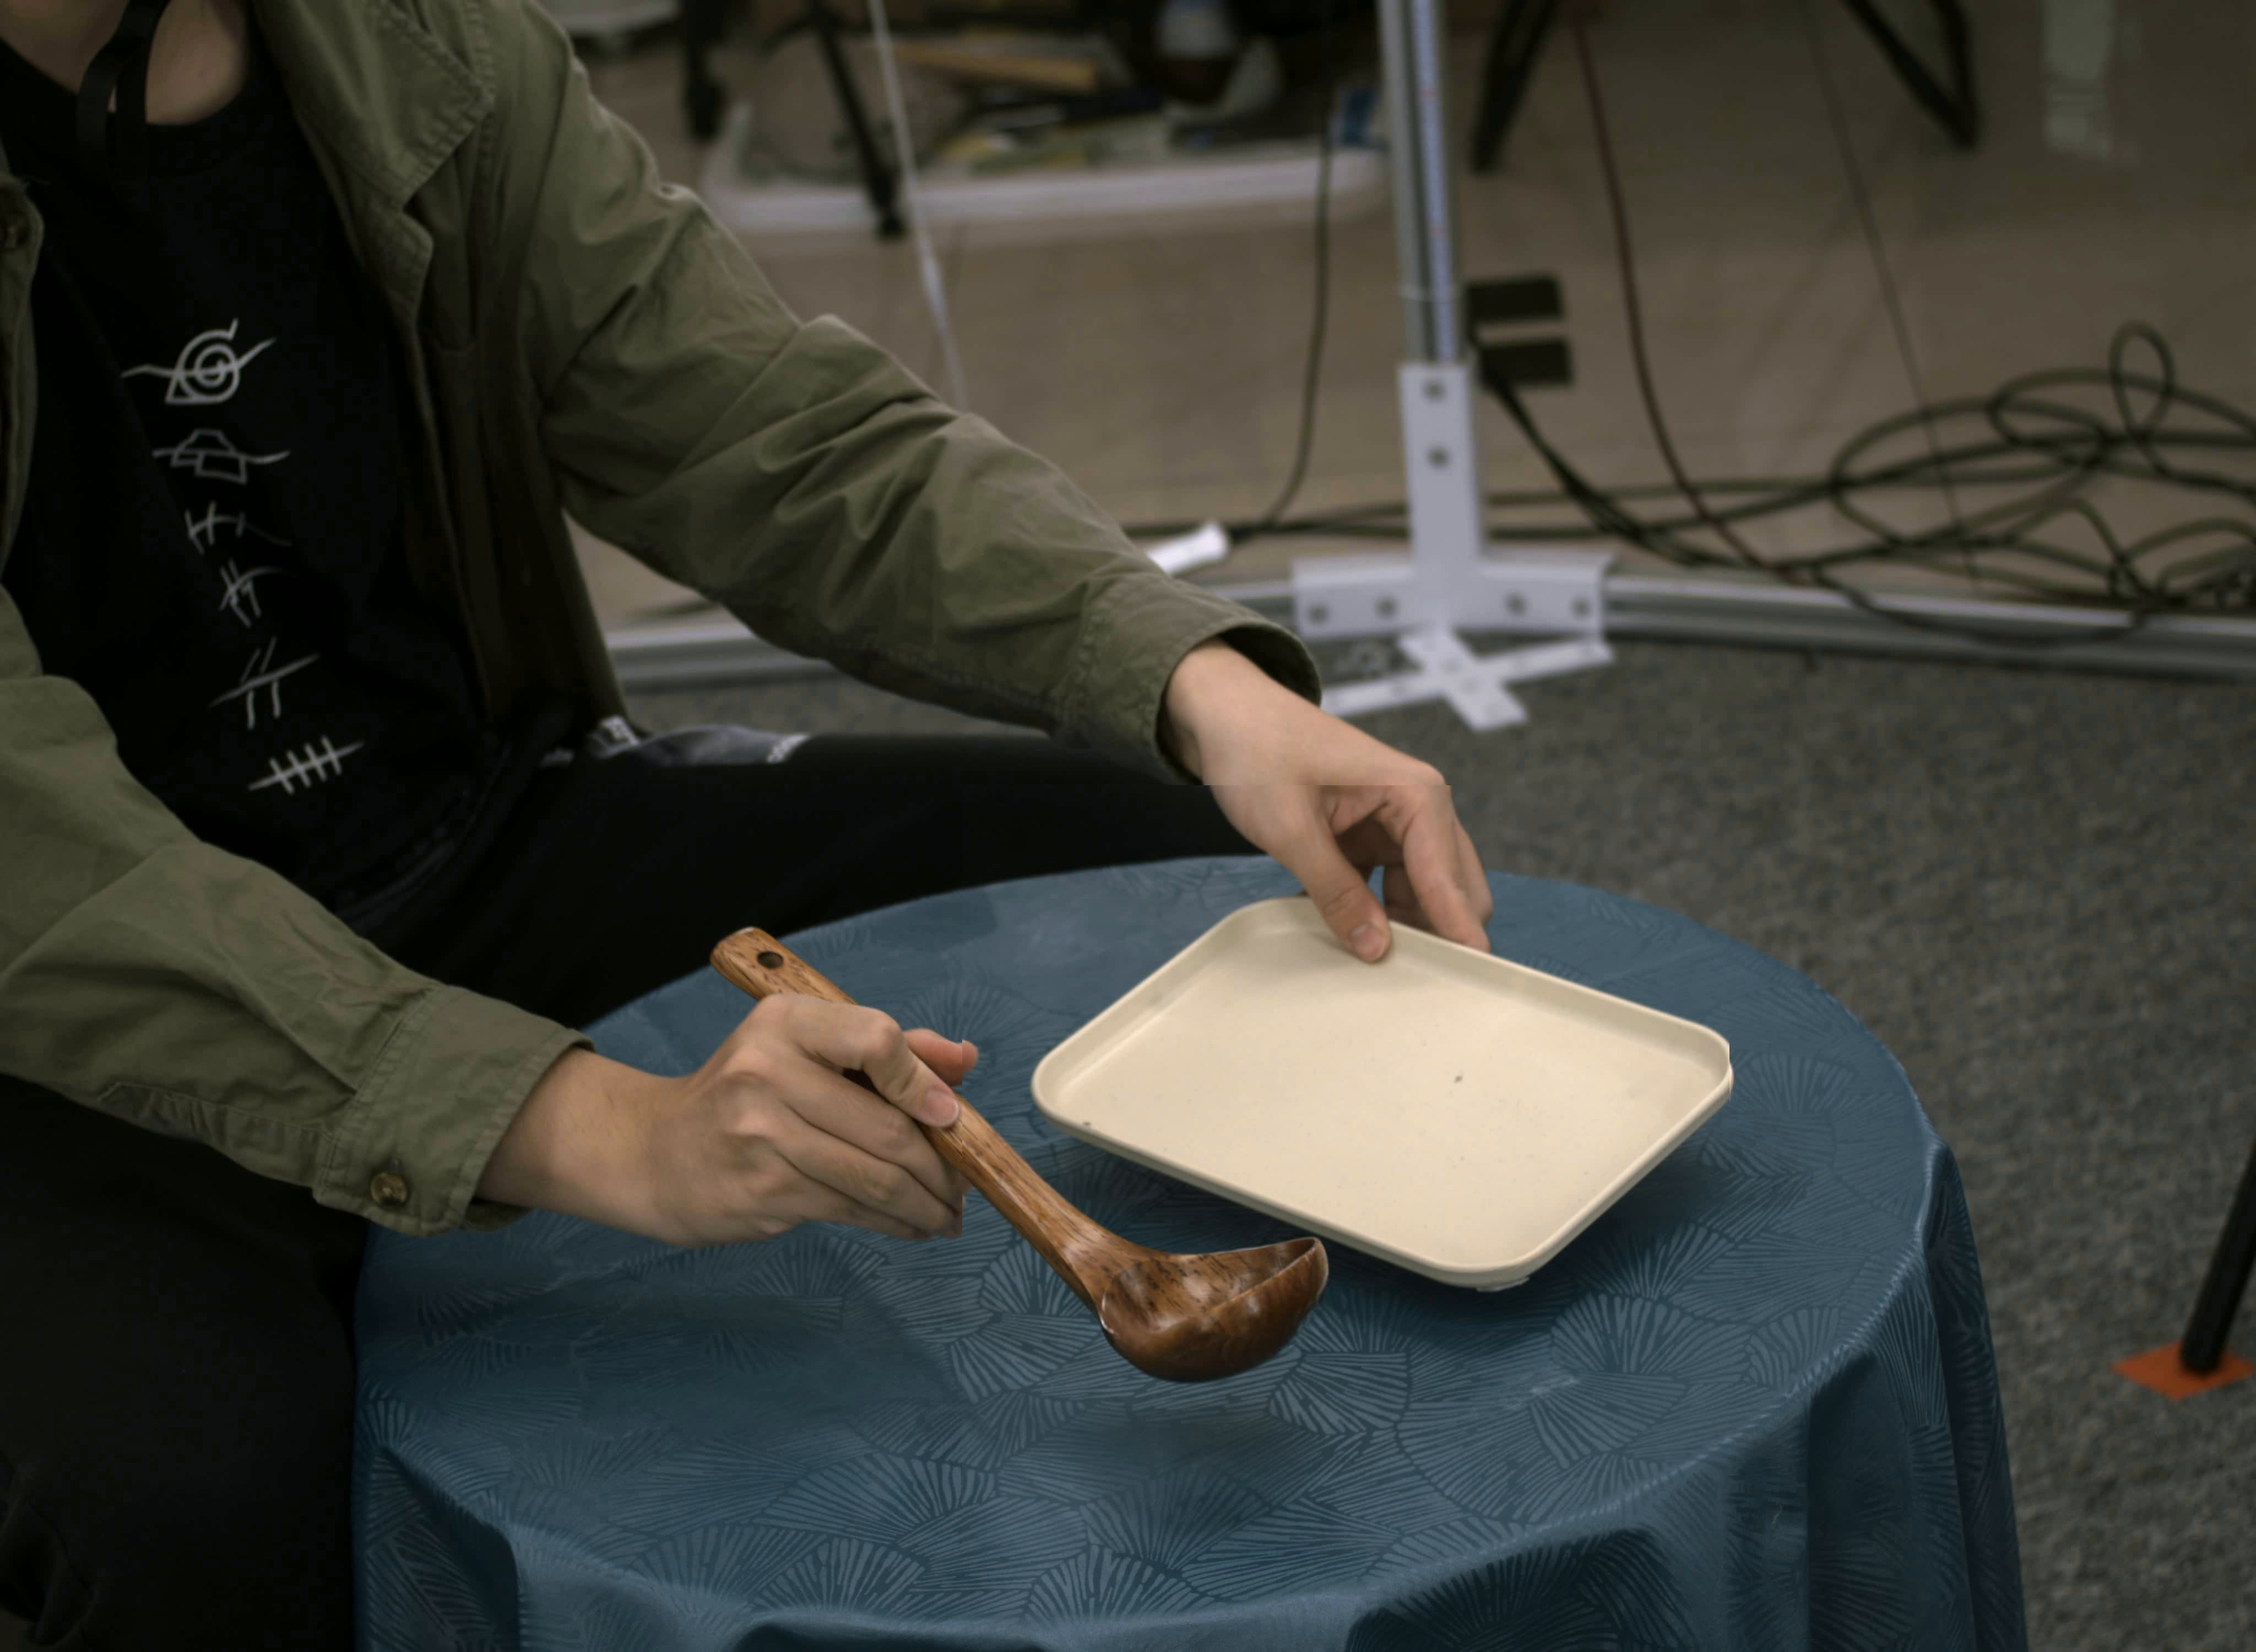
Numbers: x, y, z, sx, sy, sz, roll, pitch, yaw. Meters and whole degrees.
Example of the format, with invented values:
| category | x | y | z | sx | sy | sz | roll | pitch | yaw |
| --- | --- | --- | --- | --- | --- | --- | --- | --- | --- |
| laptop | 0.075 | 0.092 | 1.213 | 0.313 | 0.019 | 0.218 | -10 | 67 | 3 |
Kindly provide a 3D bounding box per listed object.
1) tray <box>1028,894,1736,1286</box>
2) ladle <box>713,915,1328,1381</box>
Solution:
| category | x | y | z | sx | sy | sz | roll | pitch | yaw |
| --- | --- | --- | --- | --- | --- | --- | --- | --- | --- |
| tray | 0.094 | 0.098 | 2.126 | 0.238 | 0.018 | 0.169 | 19 | 42 | 36 |
| ladle | -0.043 | 0.099 | 1.993 | 0.271 | 0.078 | 0.081 | 43 | 39 | 21 |
